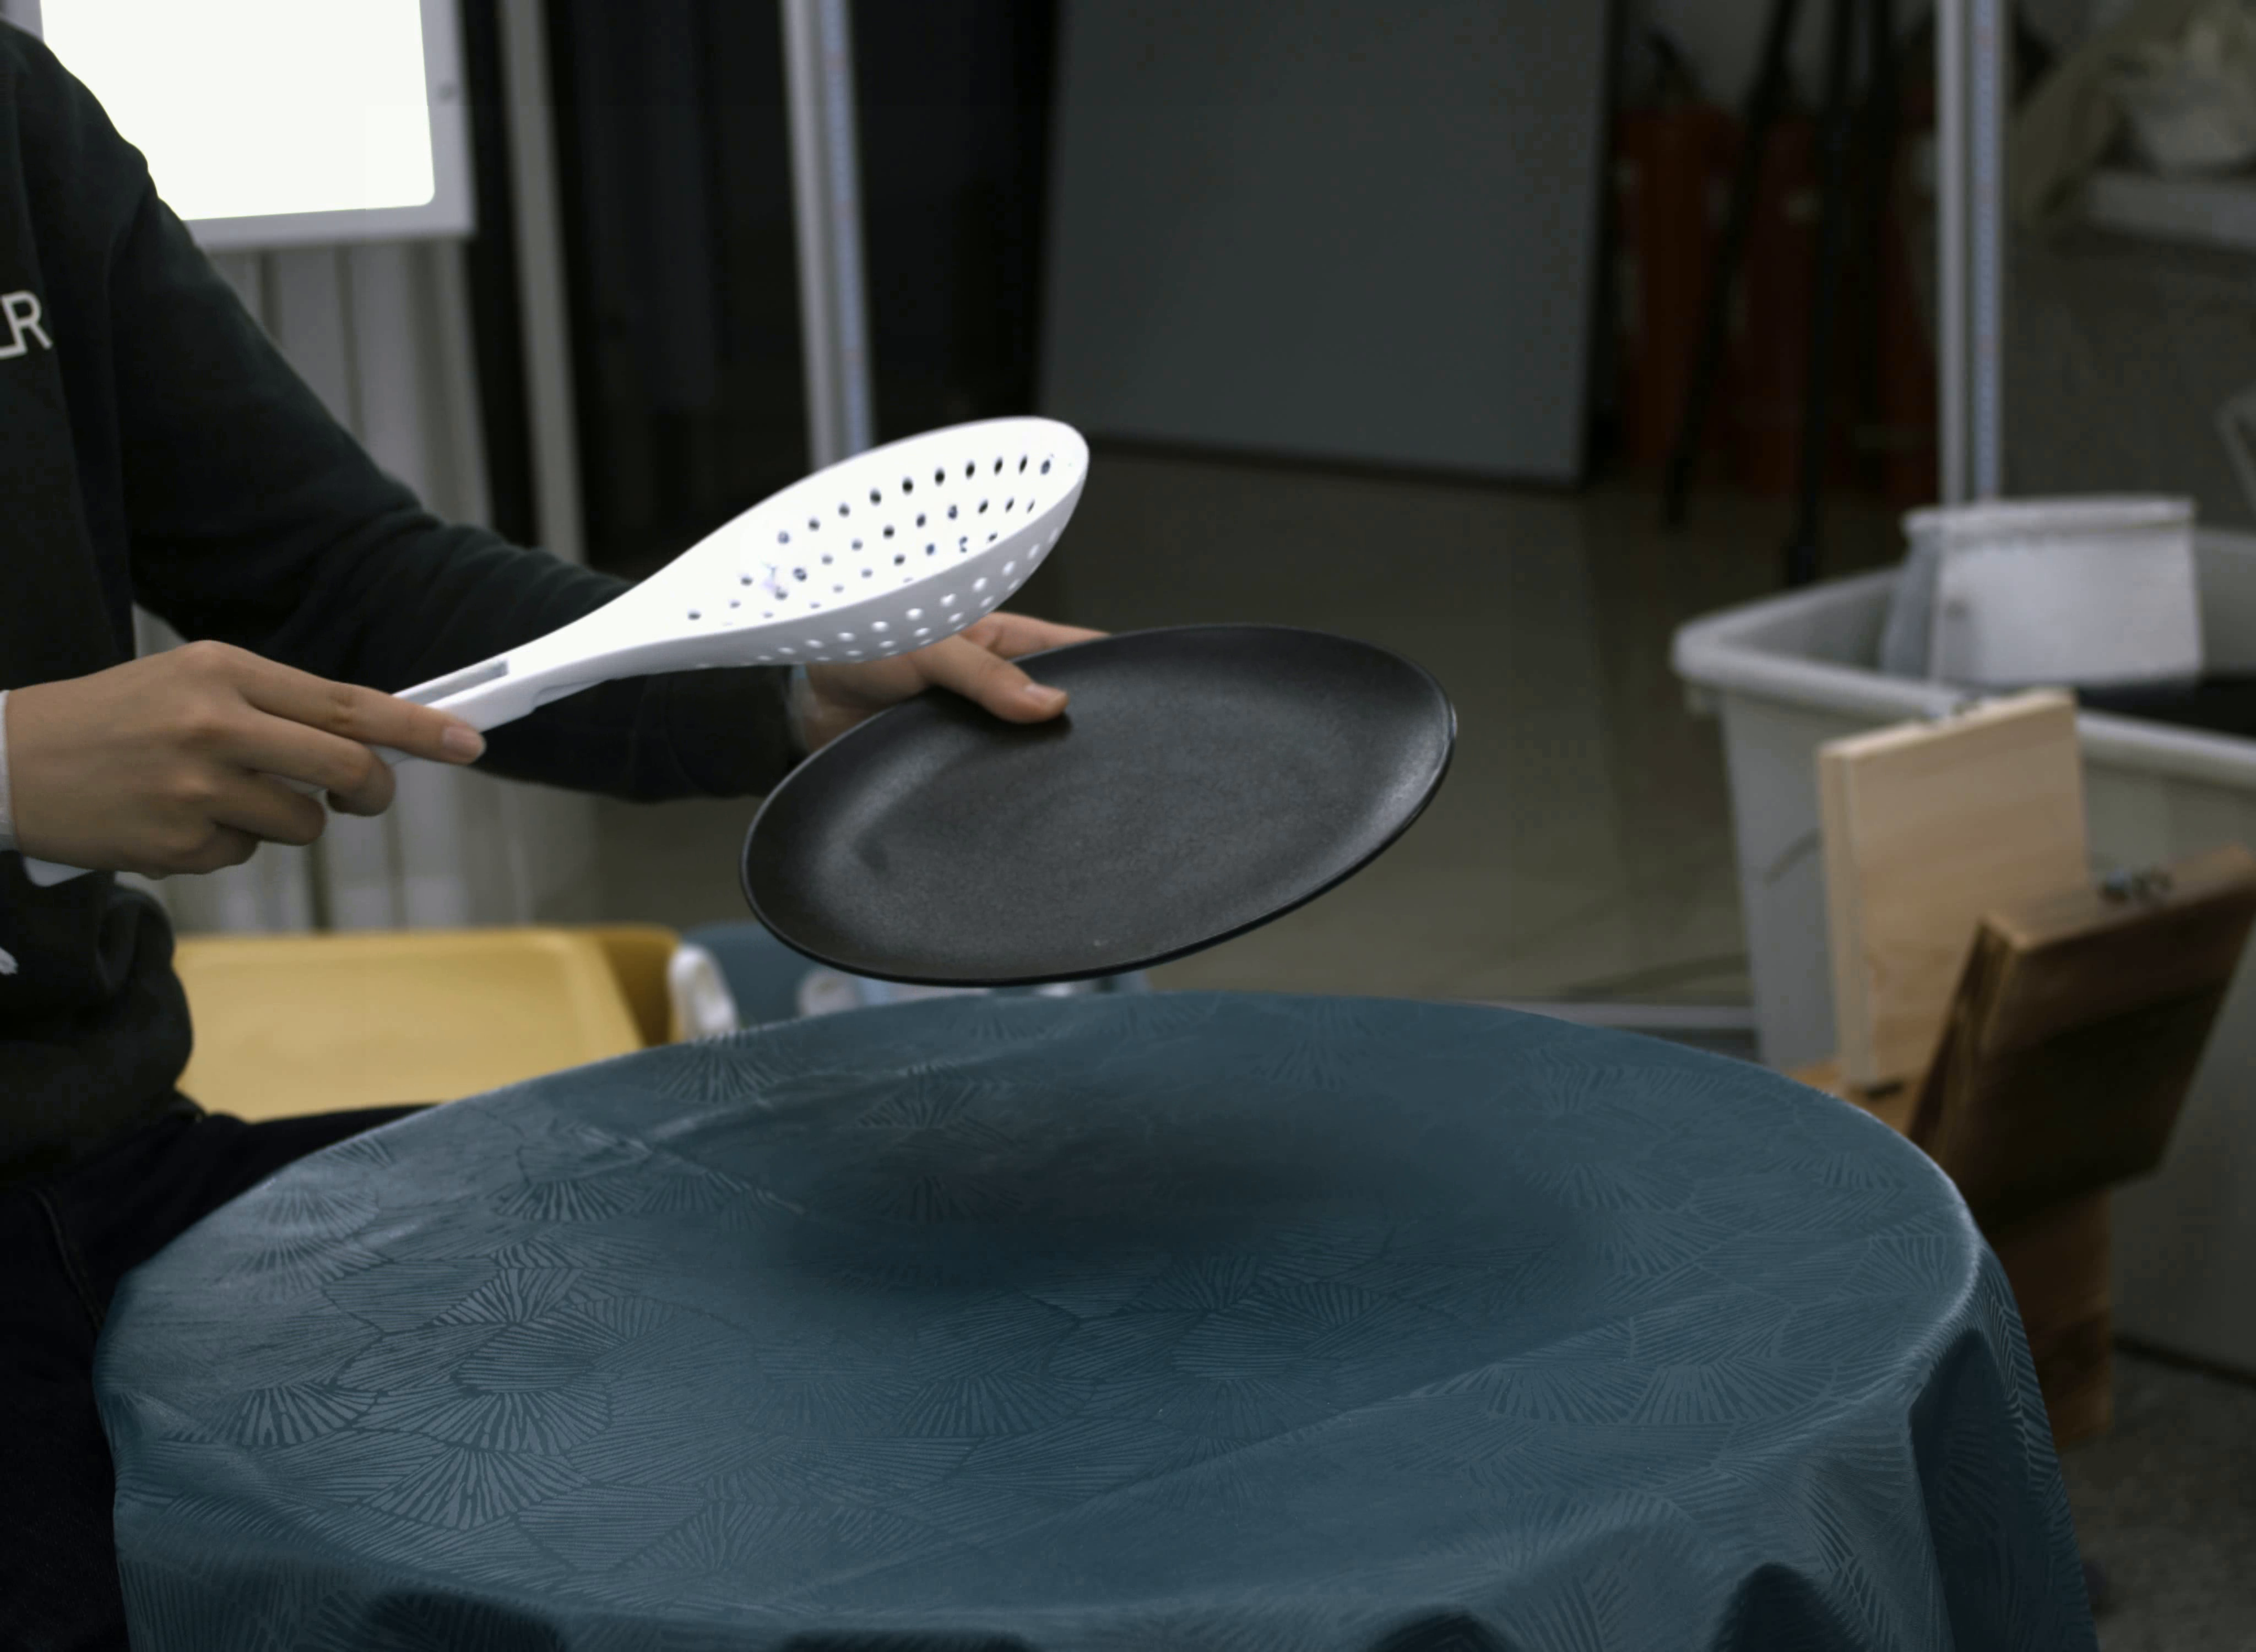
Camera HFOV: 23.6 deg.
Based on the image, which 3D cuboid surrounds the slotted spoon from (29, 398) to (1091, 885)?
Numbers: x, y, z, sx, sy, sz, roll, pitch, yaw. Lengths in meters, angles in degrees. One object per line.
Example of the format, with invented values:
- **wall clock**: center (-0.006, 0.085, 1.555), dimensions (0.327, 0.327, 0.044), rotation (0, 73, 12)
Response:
- **slotted spoon**: center (-0.172, -0.053, 1.653), dimensions (0.346, 0.046, 0.137), rotation (-17, 21, -1)

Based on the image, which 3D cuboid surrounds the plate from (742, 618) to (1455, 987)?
- **plate**: center (-0.009, -0.003, 1.774), dimensions (0.242, 0.023, 0.245), rotation (-12, 26, 5)
